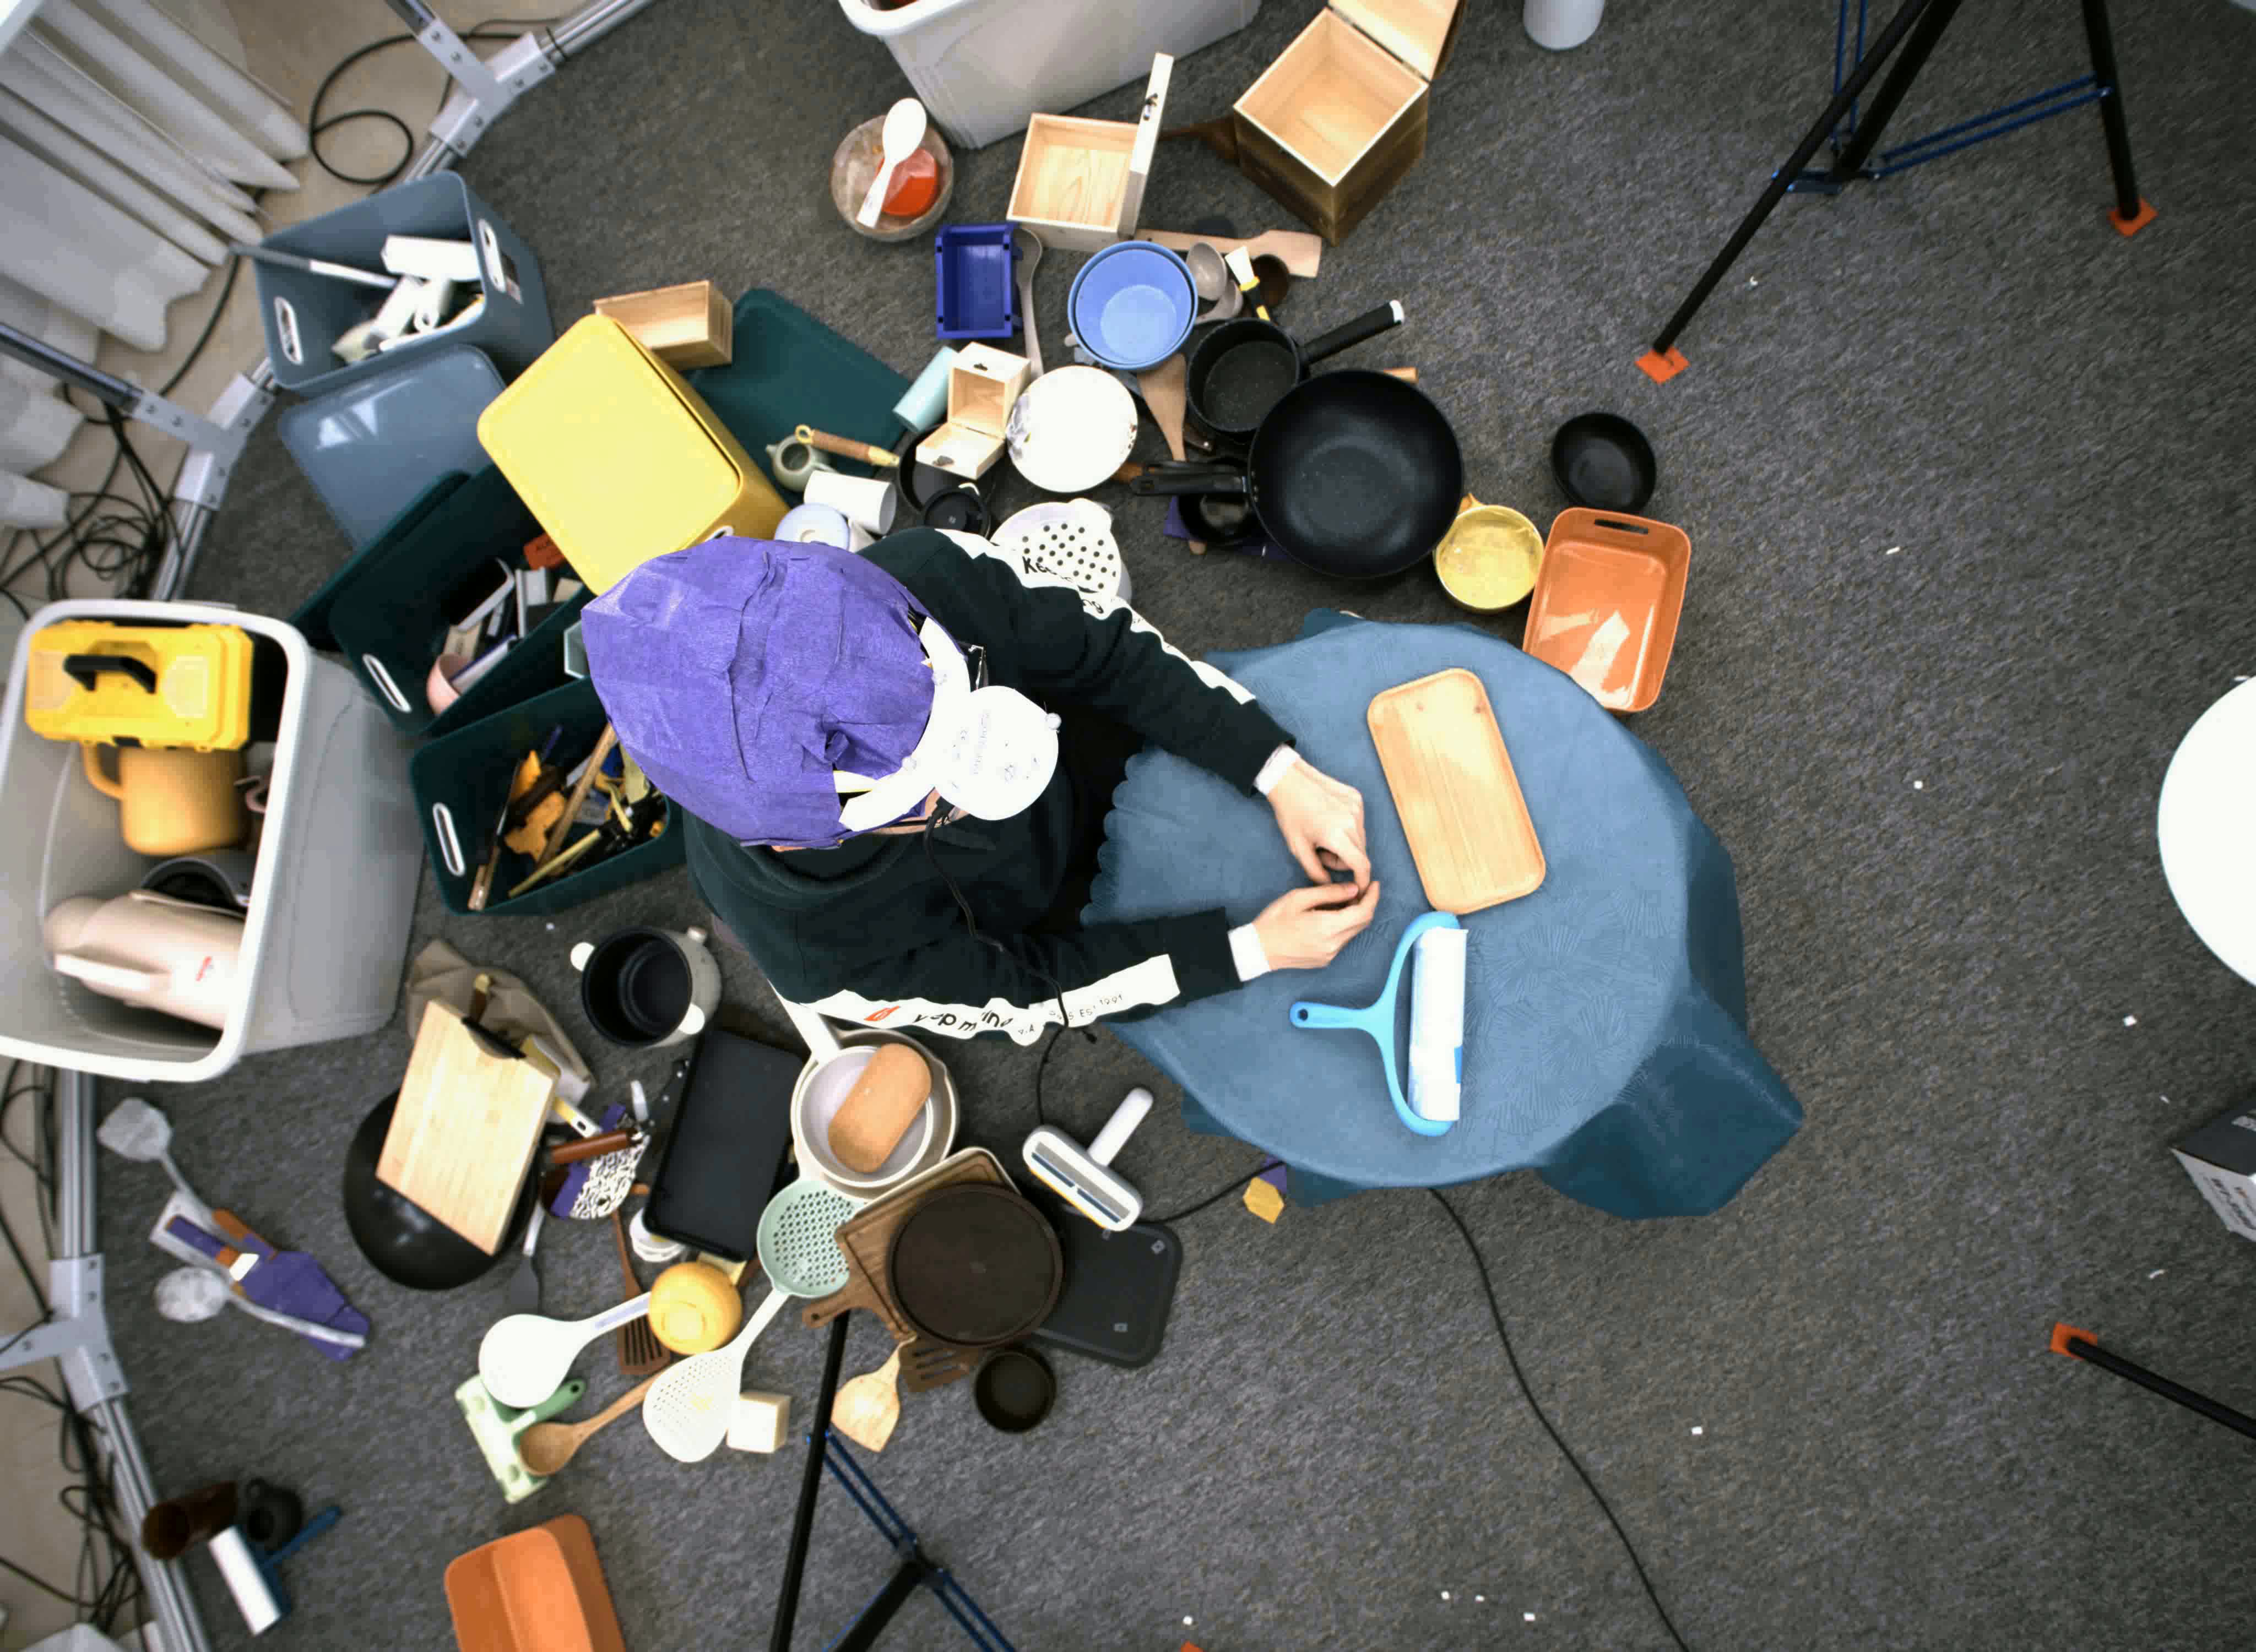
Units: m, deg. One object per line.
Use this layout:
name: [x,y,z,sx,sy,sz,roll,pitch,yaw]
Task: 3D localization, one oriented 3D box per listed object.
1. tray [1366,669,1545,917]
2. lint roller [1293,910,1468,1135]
tray: [0.342,-0.037,1.439,0.131,0.023,0.249,-18,85,11]
lint roller: [0.259,0.199,1.422,0.181,0.068,0.228,0,88,10]
